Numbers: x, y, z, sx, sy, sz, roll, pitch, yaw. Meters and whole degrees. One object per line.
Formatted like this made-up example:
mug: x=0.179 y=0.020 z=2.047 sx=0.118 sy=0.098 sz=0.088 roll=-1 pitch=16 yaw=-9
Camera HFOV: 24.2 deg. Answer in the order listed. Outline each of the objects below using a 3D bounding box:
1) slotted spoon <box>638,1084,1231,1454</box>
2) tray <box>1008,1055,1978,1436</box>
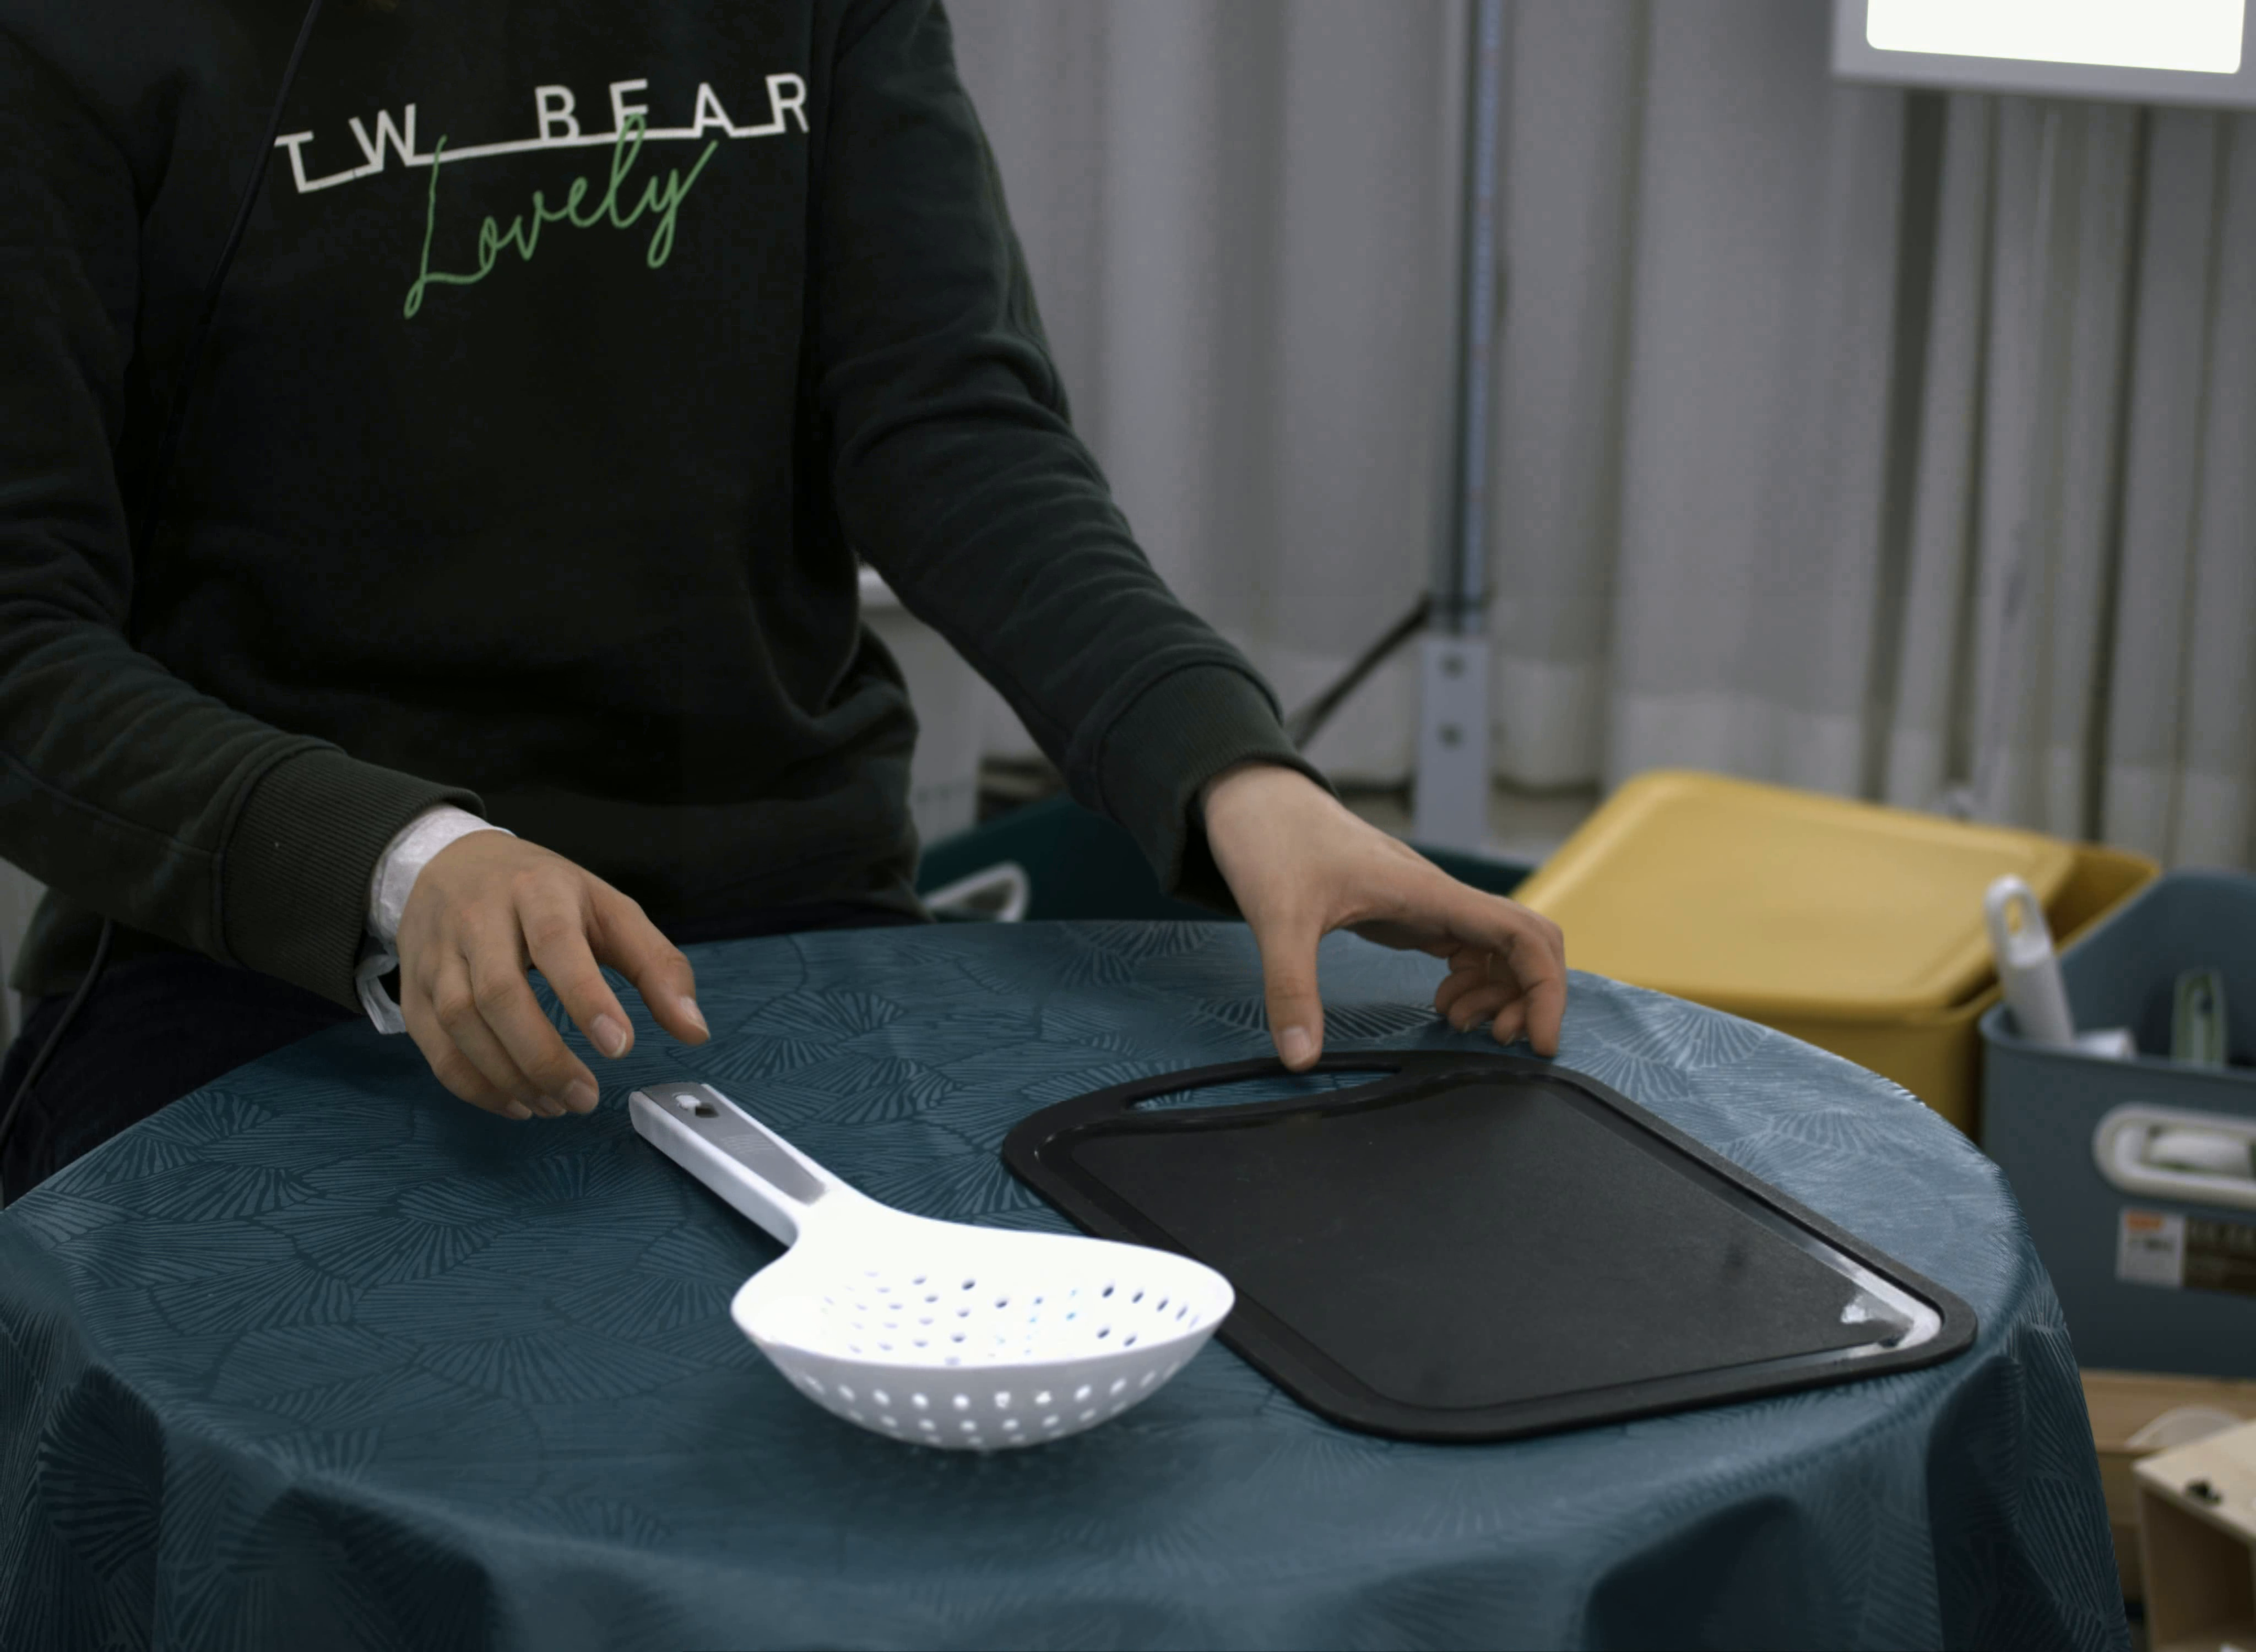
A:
slotted spoon: x=-0.080 y=0.118 z=1.520 sx=0.136 sy=0.046 sz=0.346 roll=-4 pitch=15 yaw=-22
tray: x=0.099 y=0.119 z=1.596 sx=0.212 sy=0.010 sz=0.321 roll=-6 pitch=17 yaw=-23
